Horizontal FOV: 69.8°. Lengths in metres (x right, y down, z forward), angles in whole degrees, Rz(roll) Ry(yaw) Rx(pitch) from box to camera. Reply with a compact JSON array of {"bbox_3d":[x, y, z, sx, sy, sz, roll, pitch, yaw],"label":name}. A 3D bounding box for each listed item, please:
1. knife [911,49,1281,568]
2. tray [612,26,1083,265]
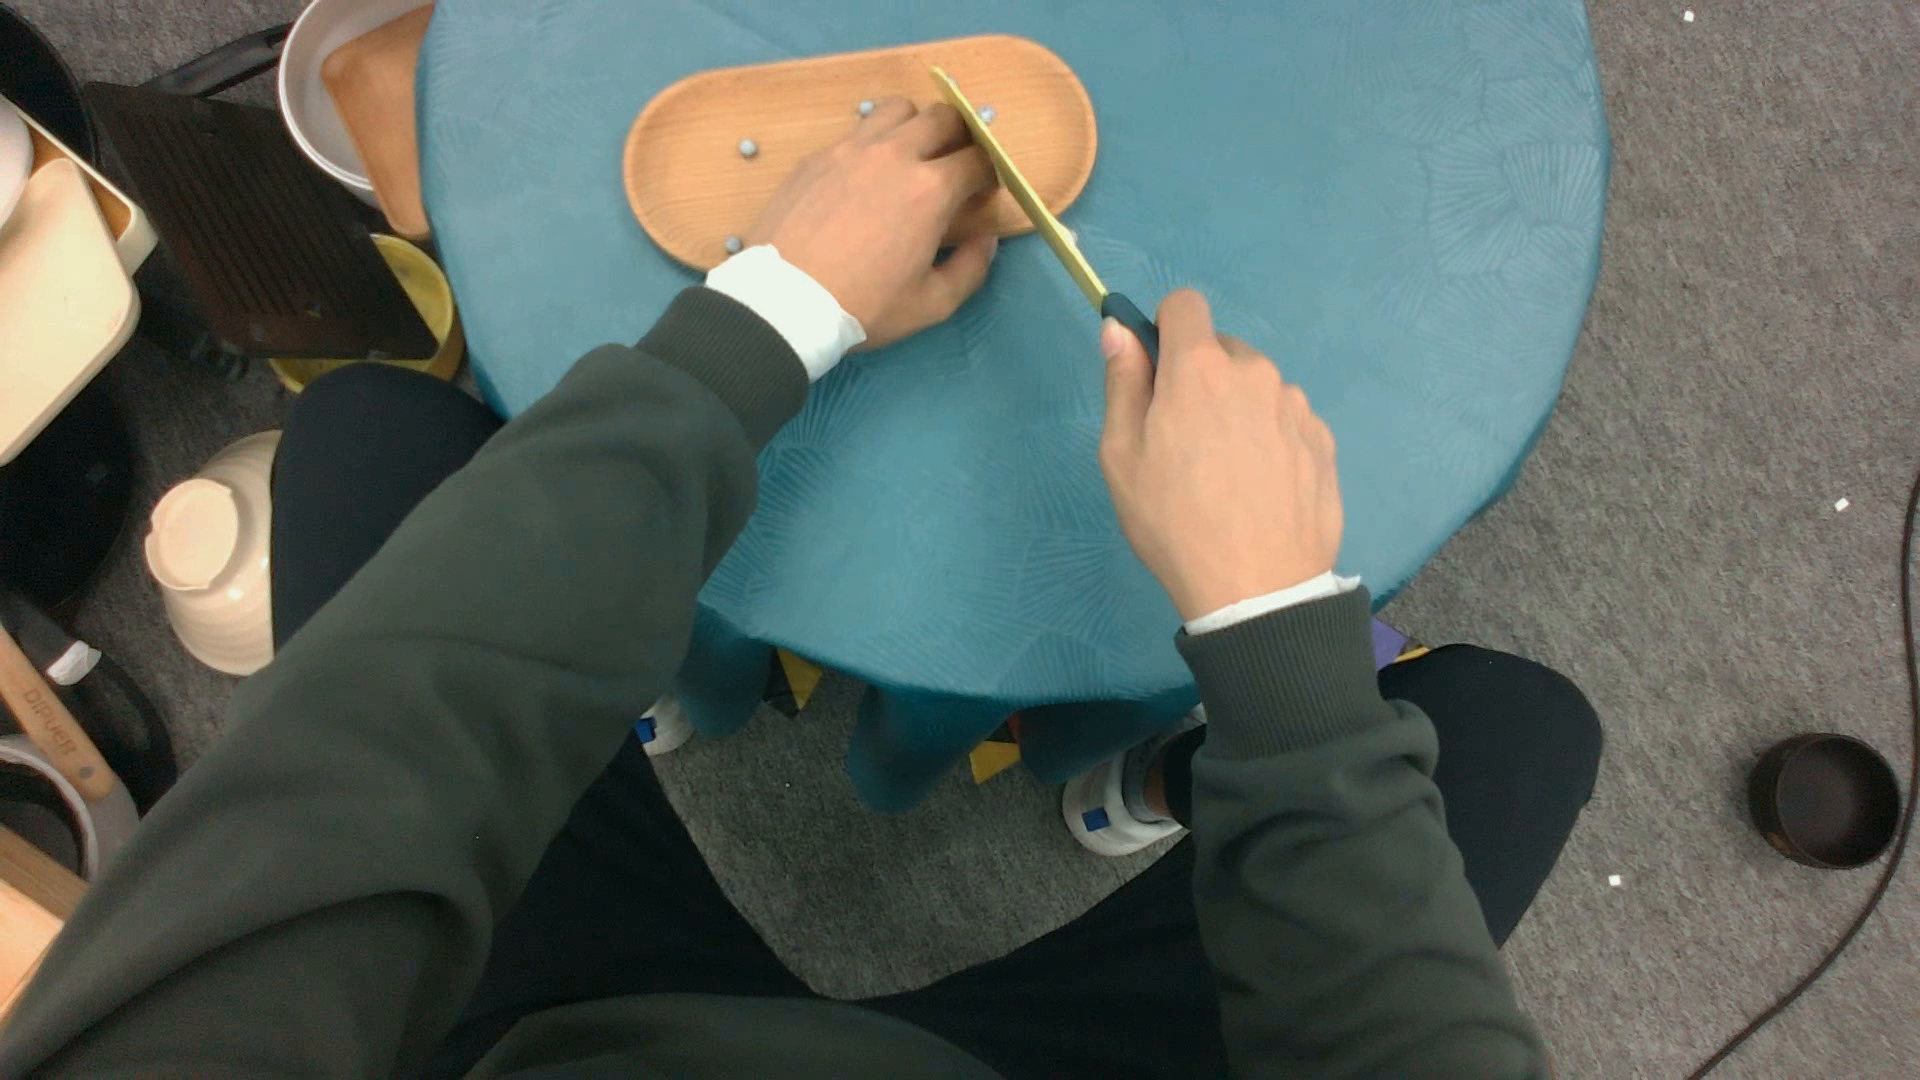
[{"bbox_3d":[0.052,-0.108,0.606,0.027,0.081,0.290,-34,75,7],"label":"knife"},{"bbox_3d":[-0.053,-0.194,0.678,0.231,0.020,0.102,-10,85,-9],"label":"tray"}]
